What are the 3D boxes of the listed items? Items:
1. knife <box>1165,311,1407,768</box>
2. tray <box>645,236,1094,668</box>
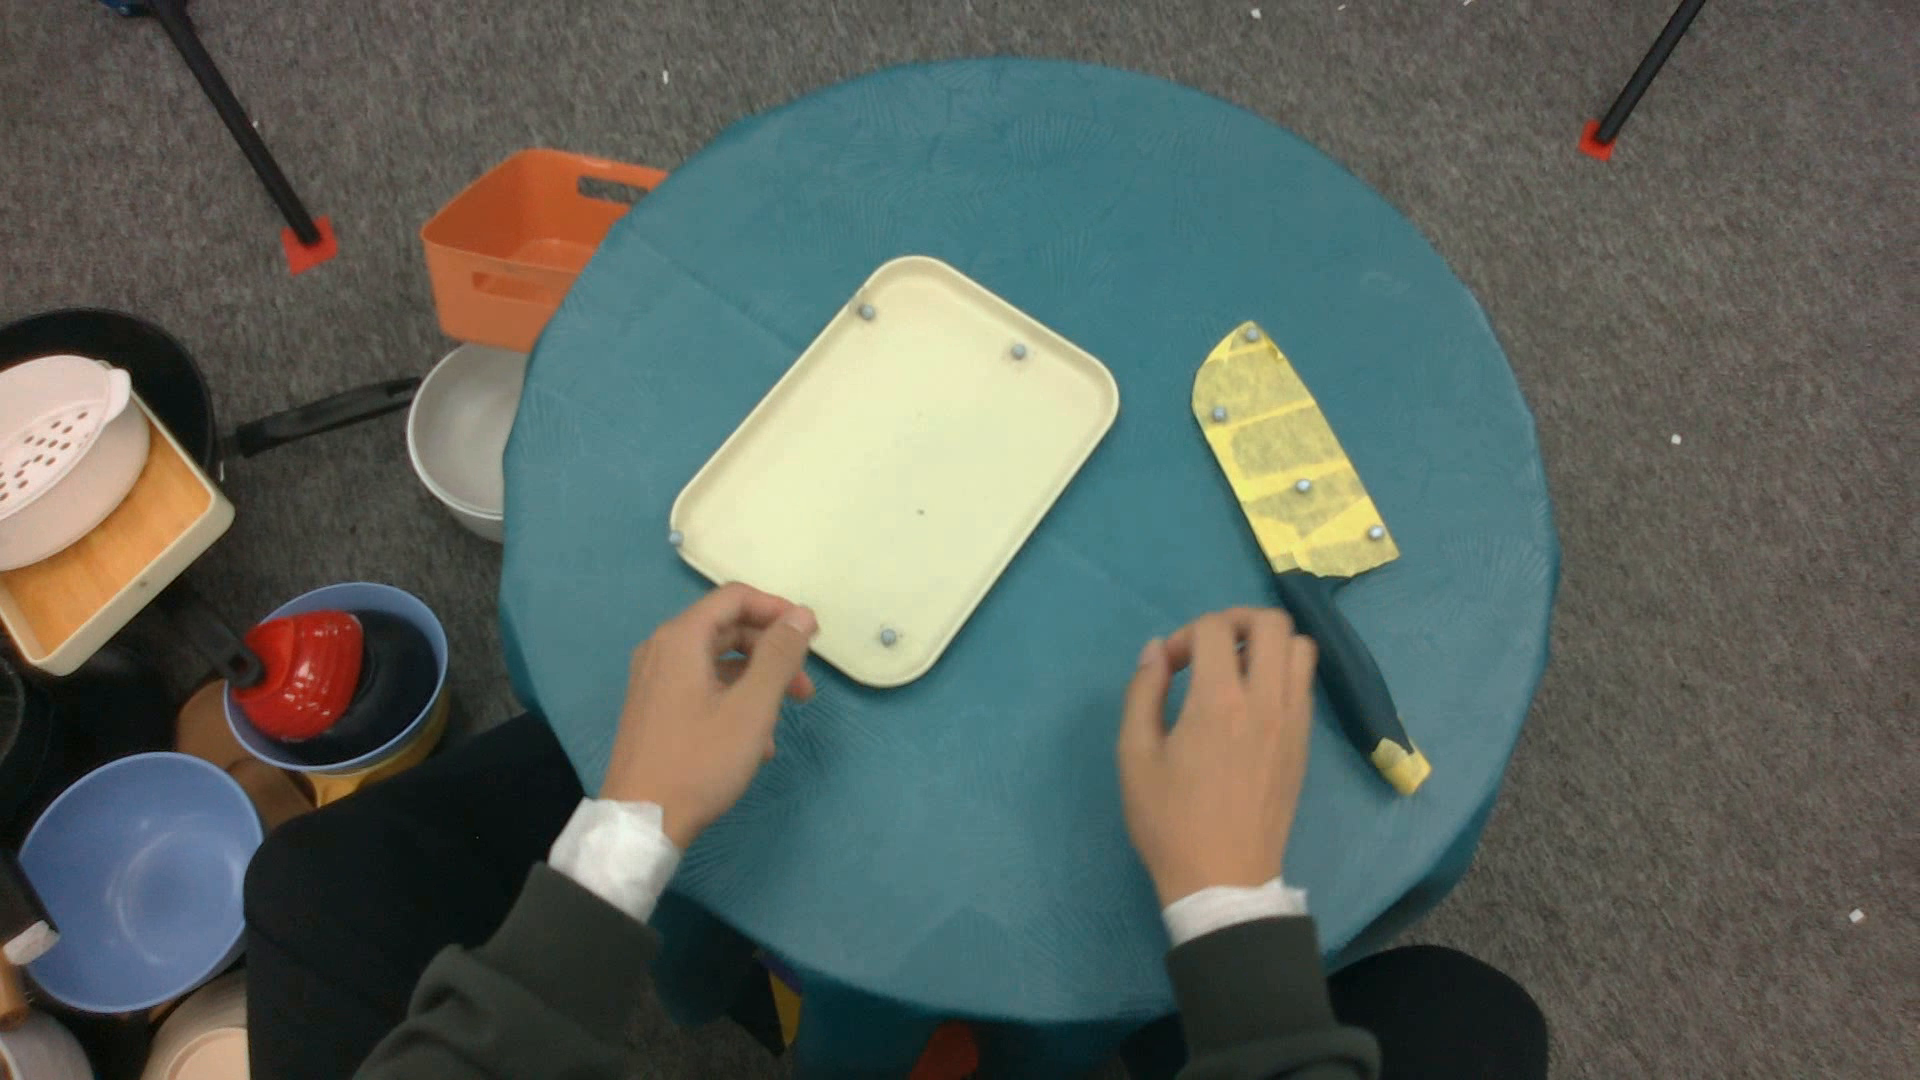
[{"bbox_3d":[0.191,-0.011,0.780,0.081,0.027,0.290,-16,69,-10],"label":"knife"},{"bbox_3d":[-0.047,-0.055,0.775,0.171,0.017,0.240,33,68,8],"label":"tray"}]
